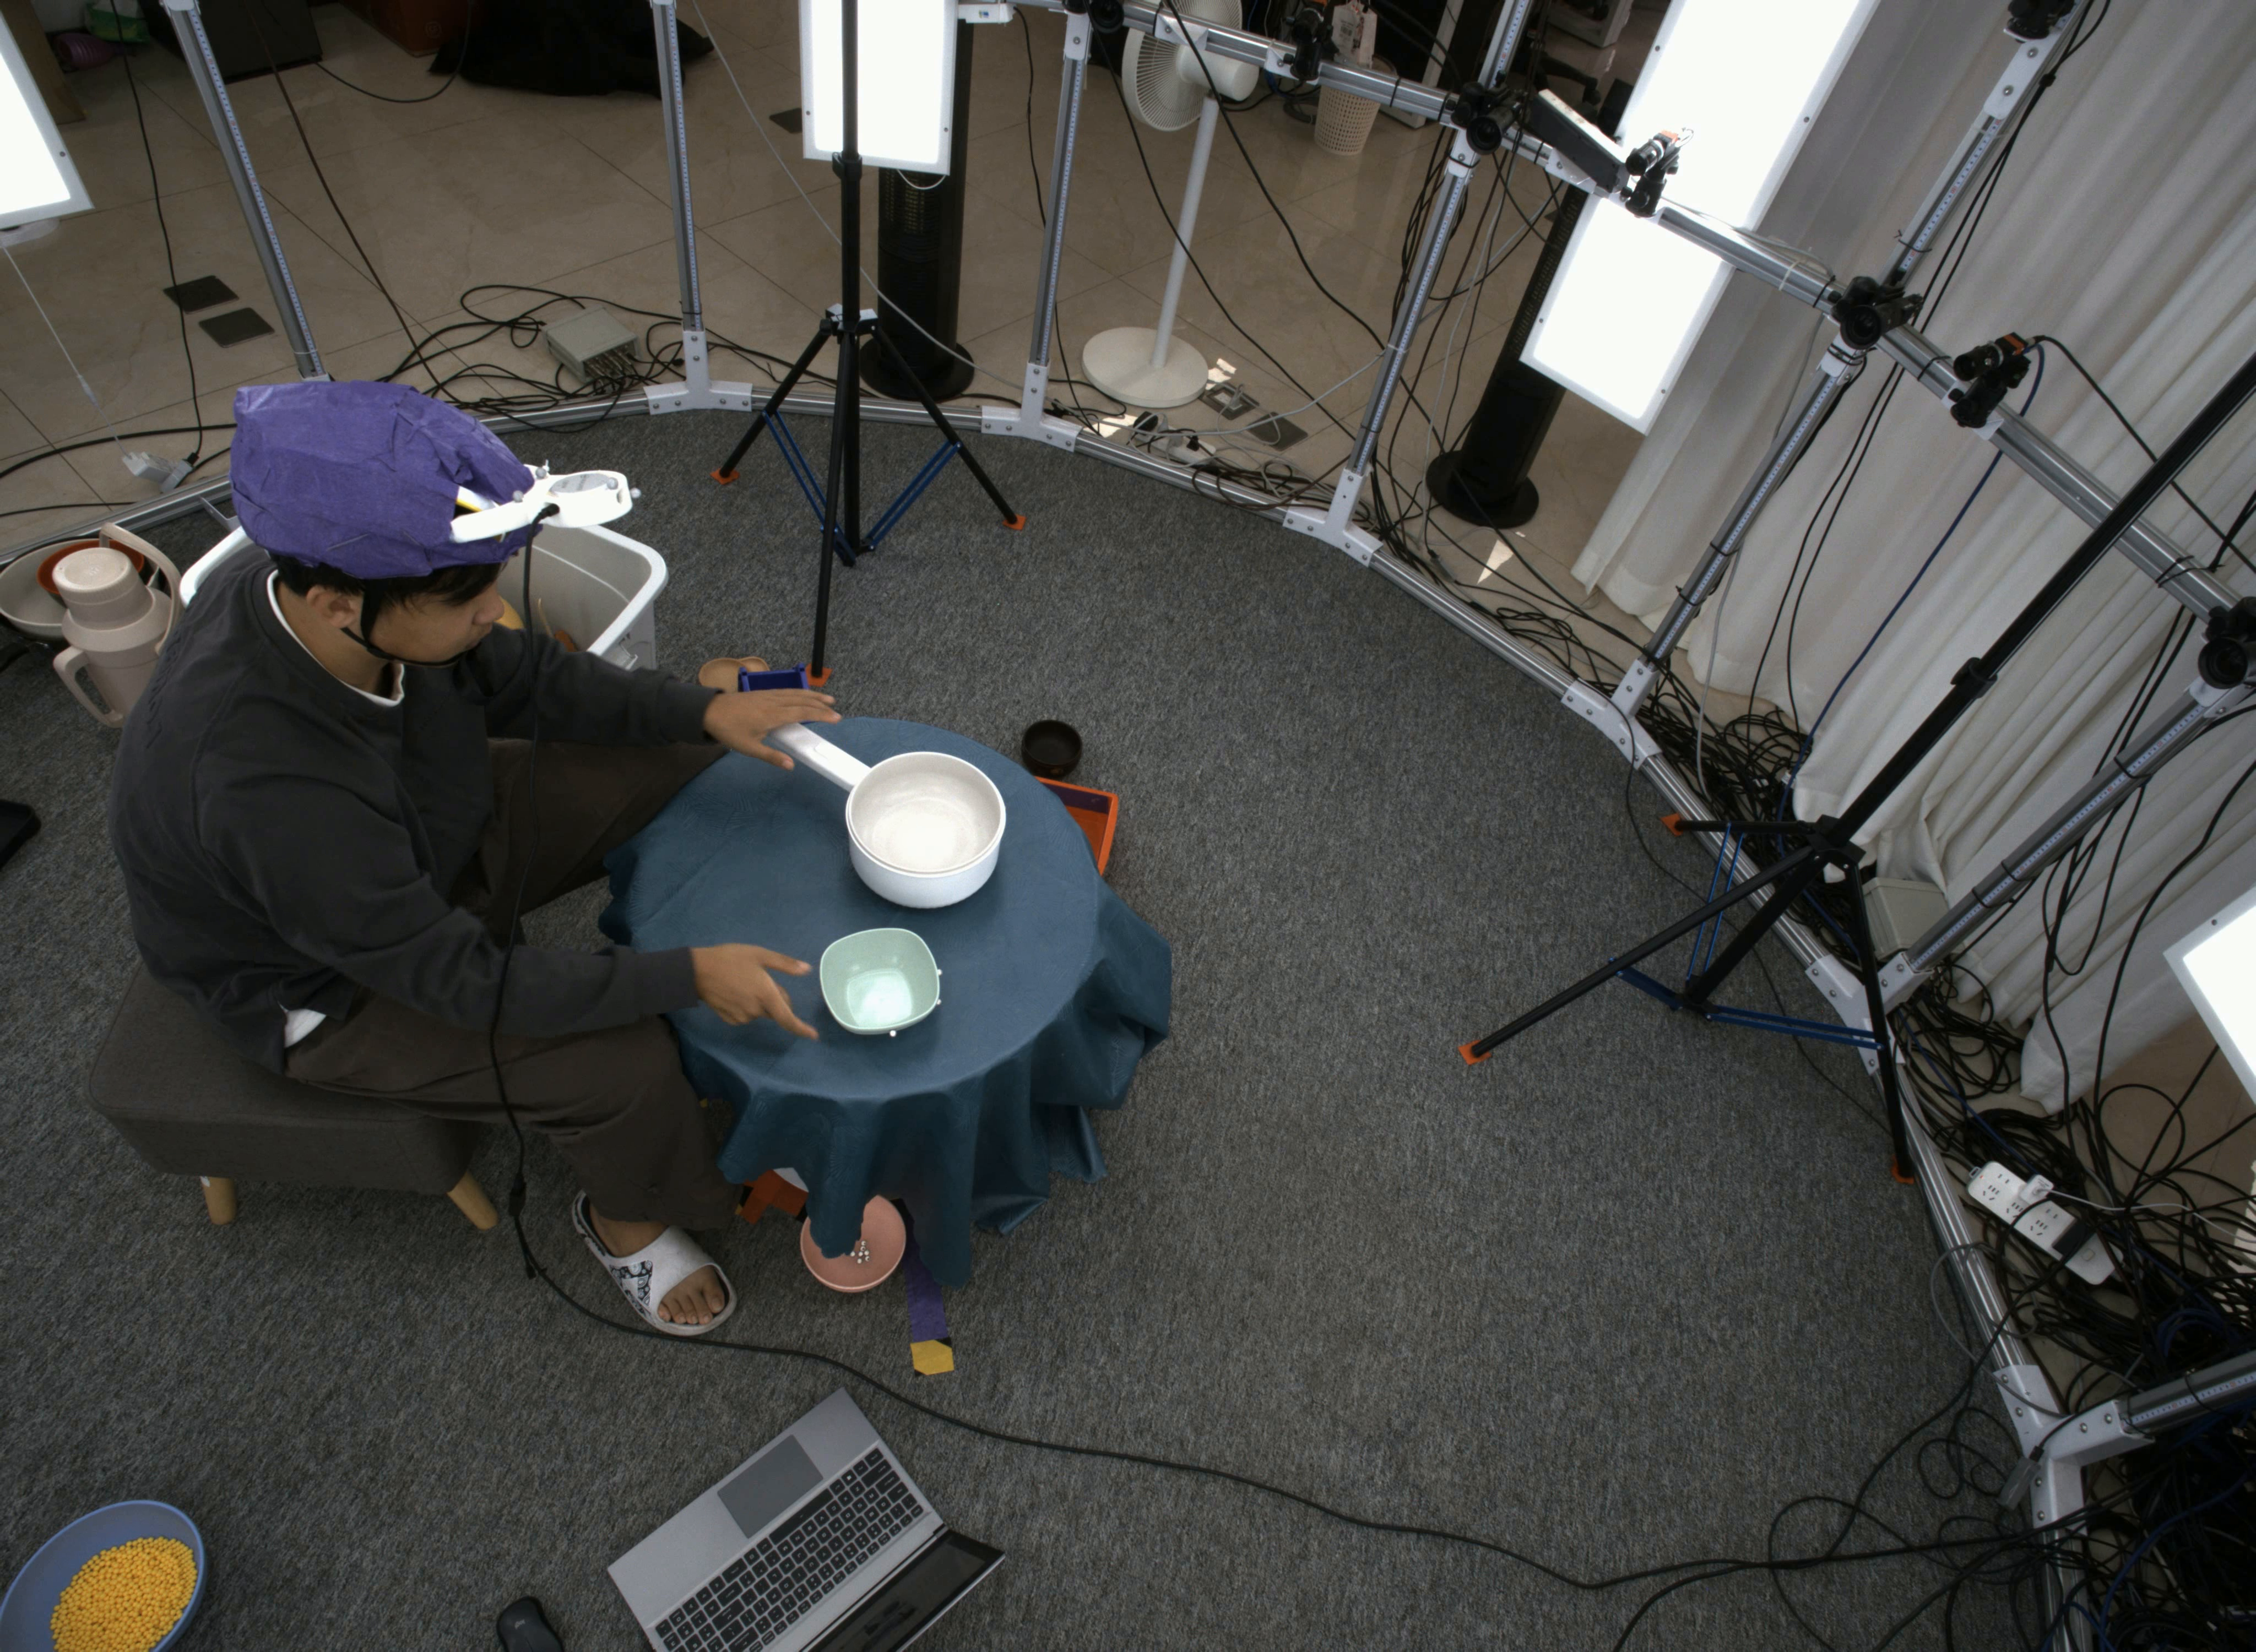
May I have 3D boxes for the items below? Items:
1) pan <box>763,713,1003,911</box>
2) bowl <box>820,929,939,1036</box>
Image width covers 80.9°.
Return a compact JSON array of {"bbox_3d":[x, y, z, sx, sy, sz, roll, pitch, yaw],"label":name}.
[{"bbox_3d":[-0.328,-0.026,1.705,0.348,0.104,0.200,30,54,11],"label":"pan"},{"bbox_3d":[-0.300,0.196,1.569,0.151,0.060,0.149,8,52,-9],"label":"bowl"}]
